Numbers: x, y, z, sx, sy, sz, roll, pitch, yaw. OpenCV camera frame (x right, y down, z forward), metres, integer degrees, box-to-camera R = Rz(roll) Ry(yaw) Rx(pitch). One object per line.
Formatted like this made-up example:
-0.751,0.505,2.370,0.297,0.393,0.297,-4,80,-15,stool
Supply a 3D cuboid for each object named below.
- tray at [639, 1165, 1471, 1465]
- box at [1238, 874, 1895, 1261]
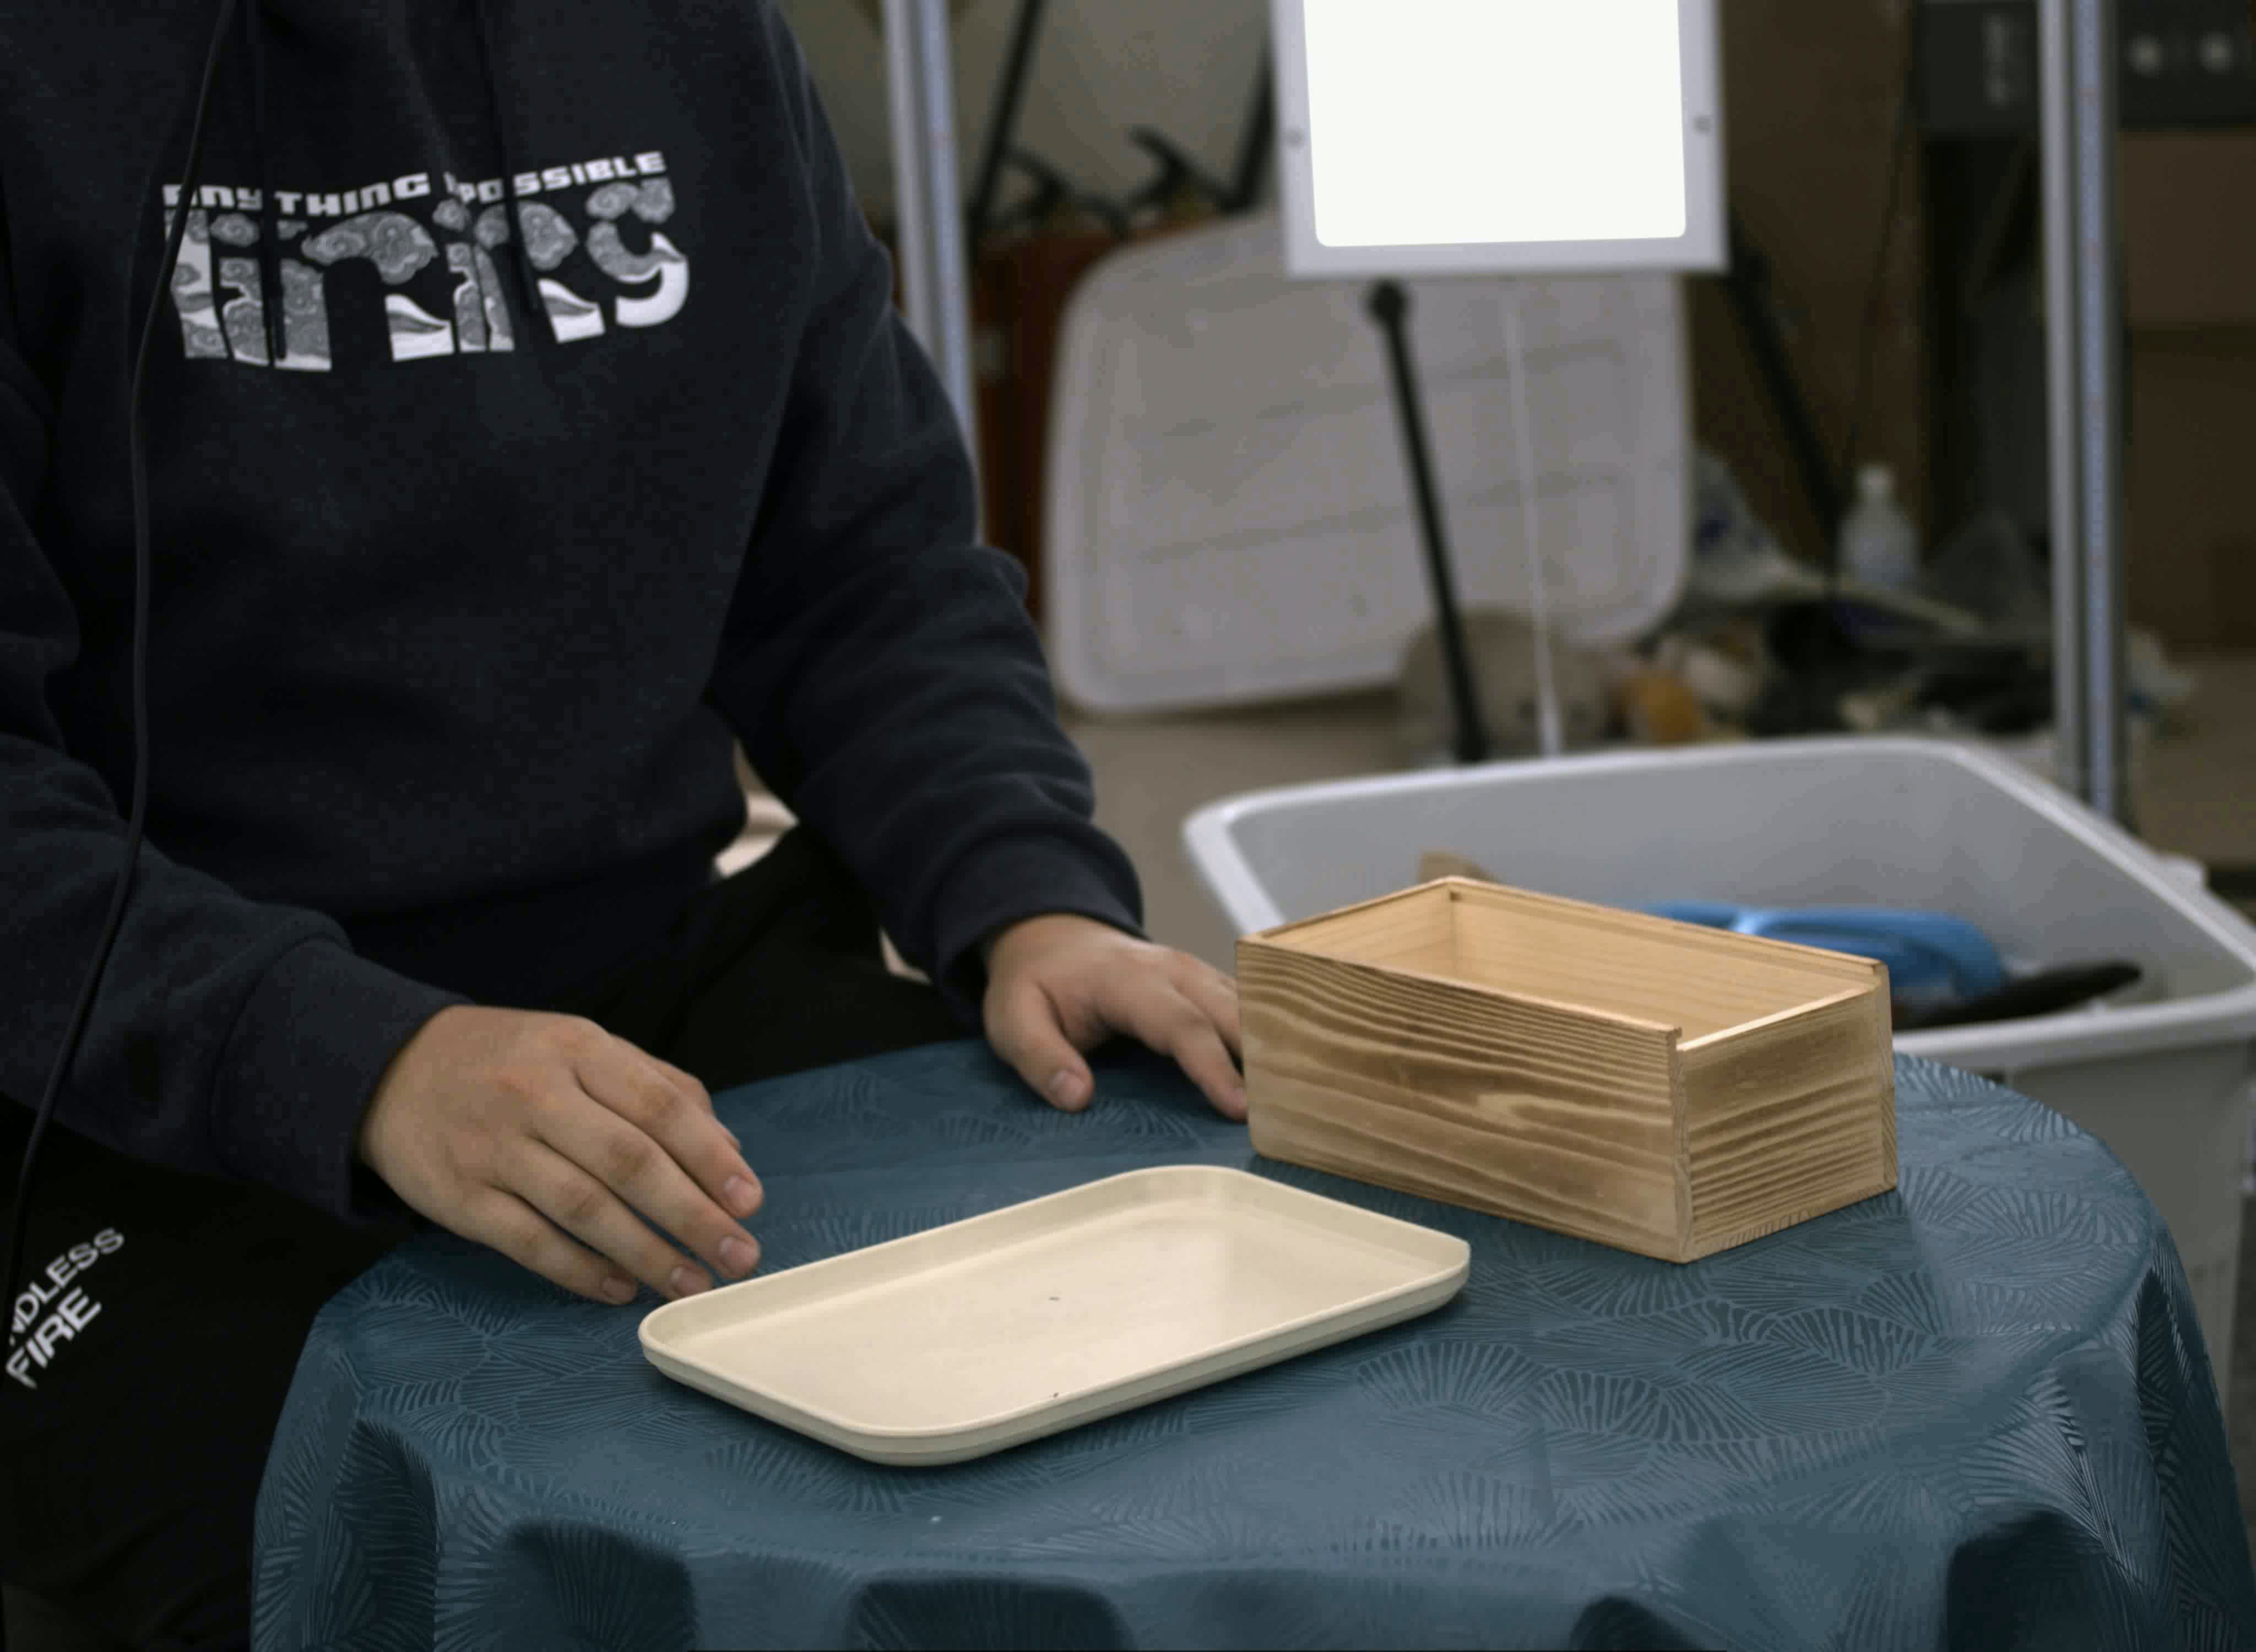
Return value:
-0.022,0.154,1.753,0.234,0.017,0.175,-14,15,-33,tray
0.148,0.079,1.873,0.105,0.080,0.216,-15,17,-38,box
